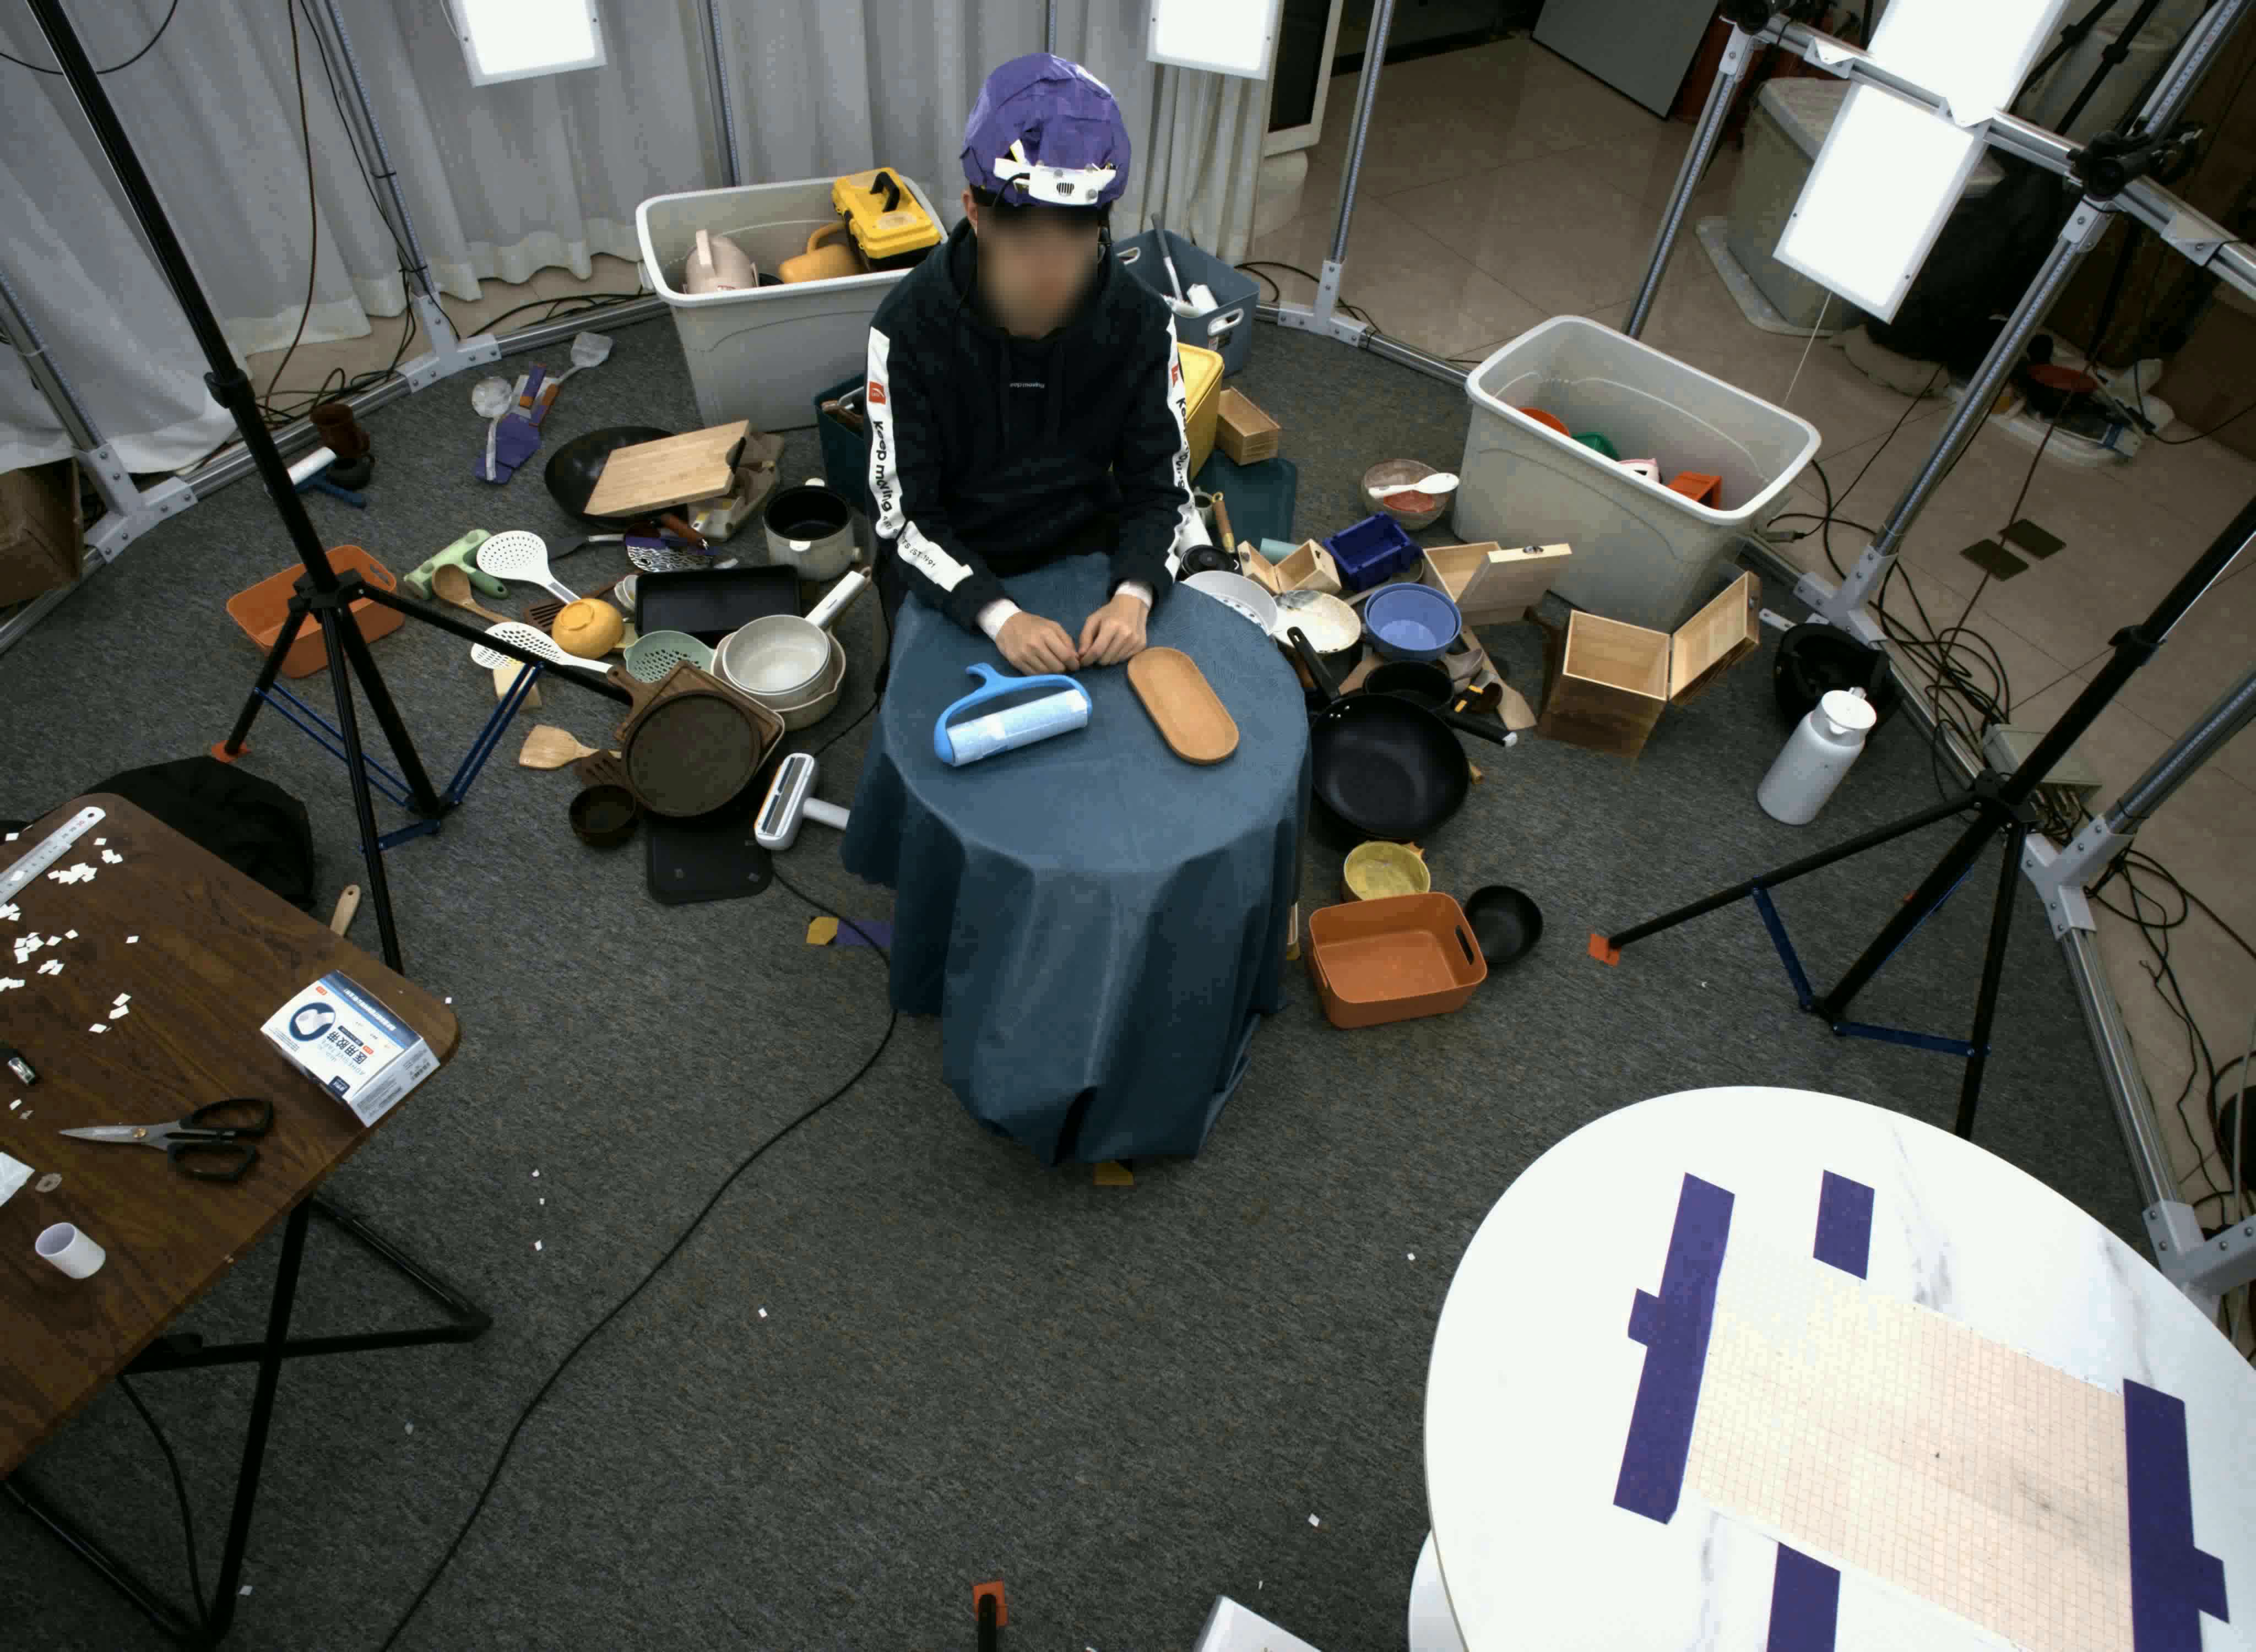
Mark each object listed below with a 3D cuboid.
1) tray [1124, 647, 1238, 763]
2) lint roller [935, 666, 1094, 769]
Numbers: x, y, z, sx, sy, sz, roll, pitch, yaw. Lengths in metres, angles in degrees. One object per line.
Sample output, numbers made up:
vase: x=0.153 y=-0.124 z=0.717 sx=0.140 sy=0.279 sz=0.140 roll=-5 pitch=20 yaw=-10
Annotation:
tray: x=0.073 y=-0.174 z=1.813 sx=0.102 sy=0.020 sz=0.236 roll=-17 pitch=51 yaw=-19
lint roller: x=-0.180 y=-0.175 z=1.771 sx=0.229 sy=0.066 sz=0.184 roll=-23 pitch=55 yaw=-20
